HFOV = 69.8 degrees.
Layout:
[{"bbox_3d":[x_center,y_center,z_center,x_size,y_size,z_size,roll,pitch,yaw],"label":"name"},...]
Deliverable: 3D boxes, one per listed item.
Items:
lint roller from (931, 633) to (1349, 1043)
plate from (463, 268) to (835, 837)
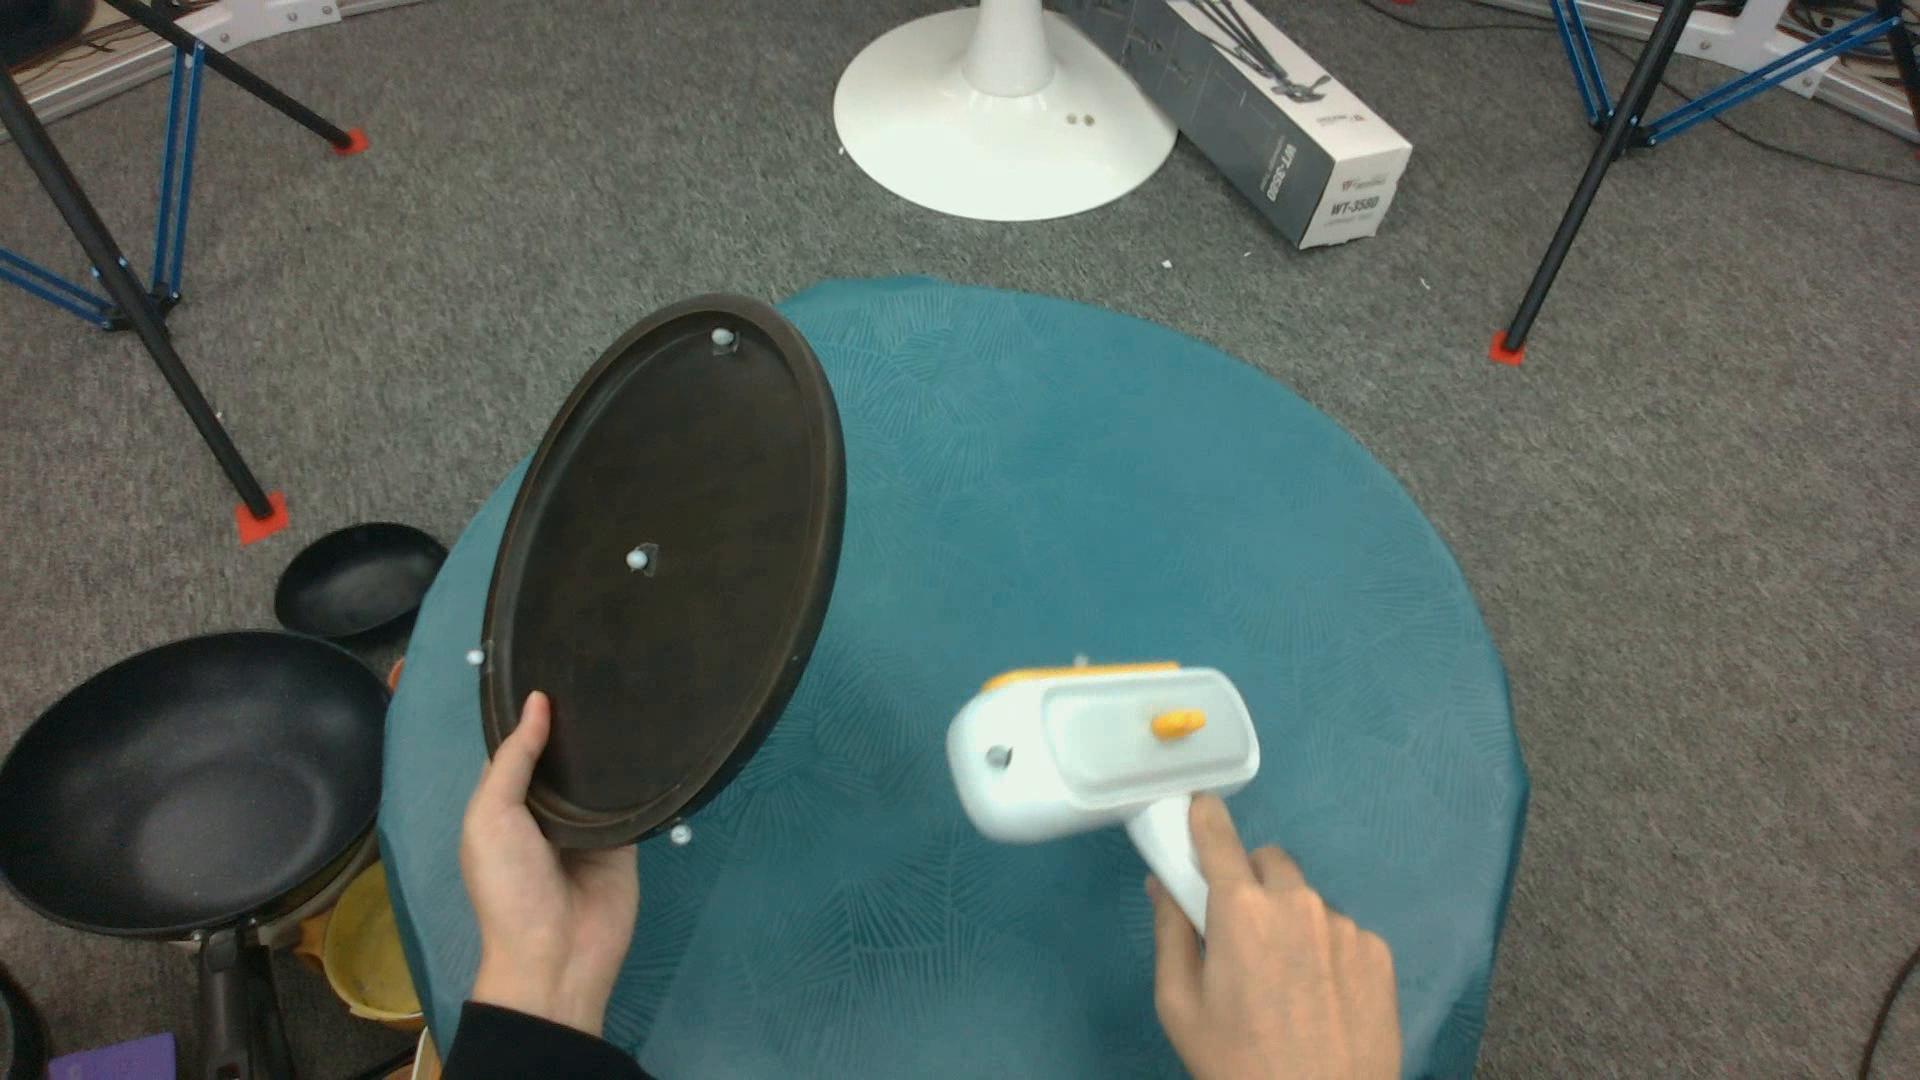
[{"bbox_3d":[0.091,0.128,0.587,0.193,0.074,0.193,2,56,-58],"label":"lint roller"},{"bbox_3d":[-0.144,0.004,0.613,0.029,0.254,0.255,21,38,-44],"label":"plate"}]
